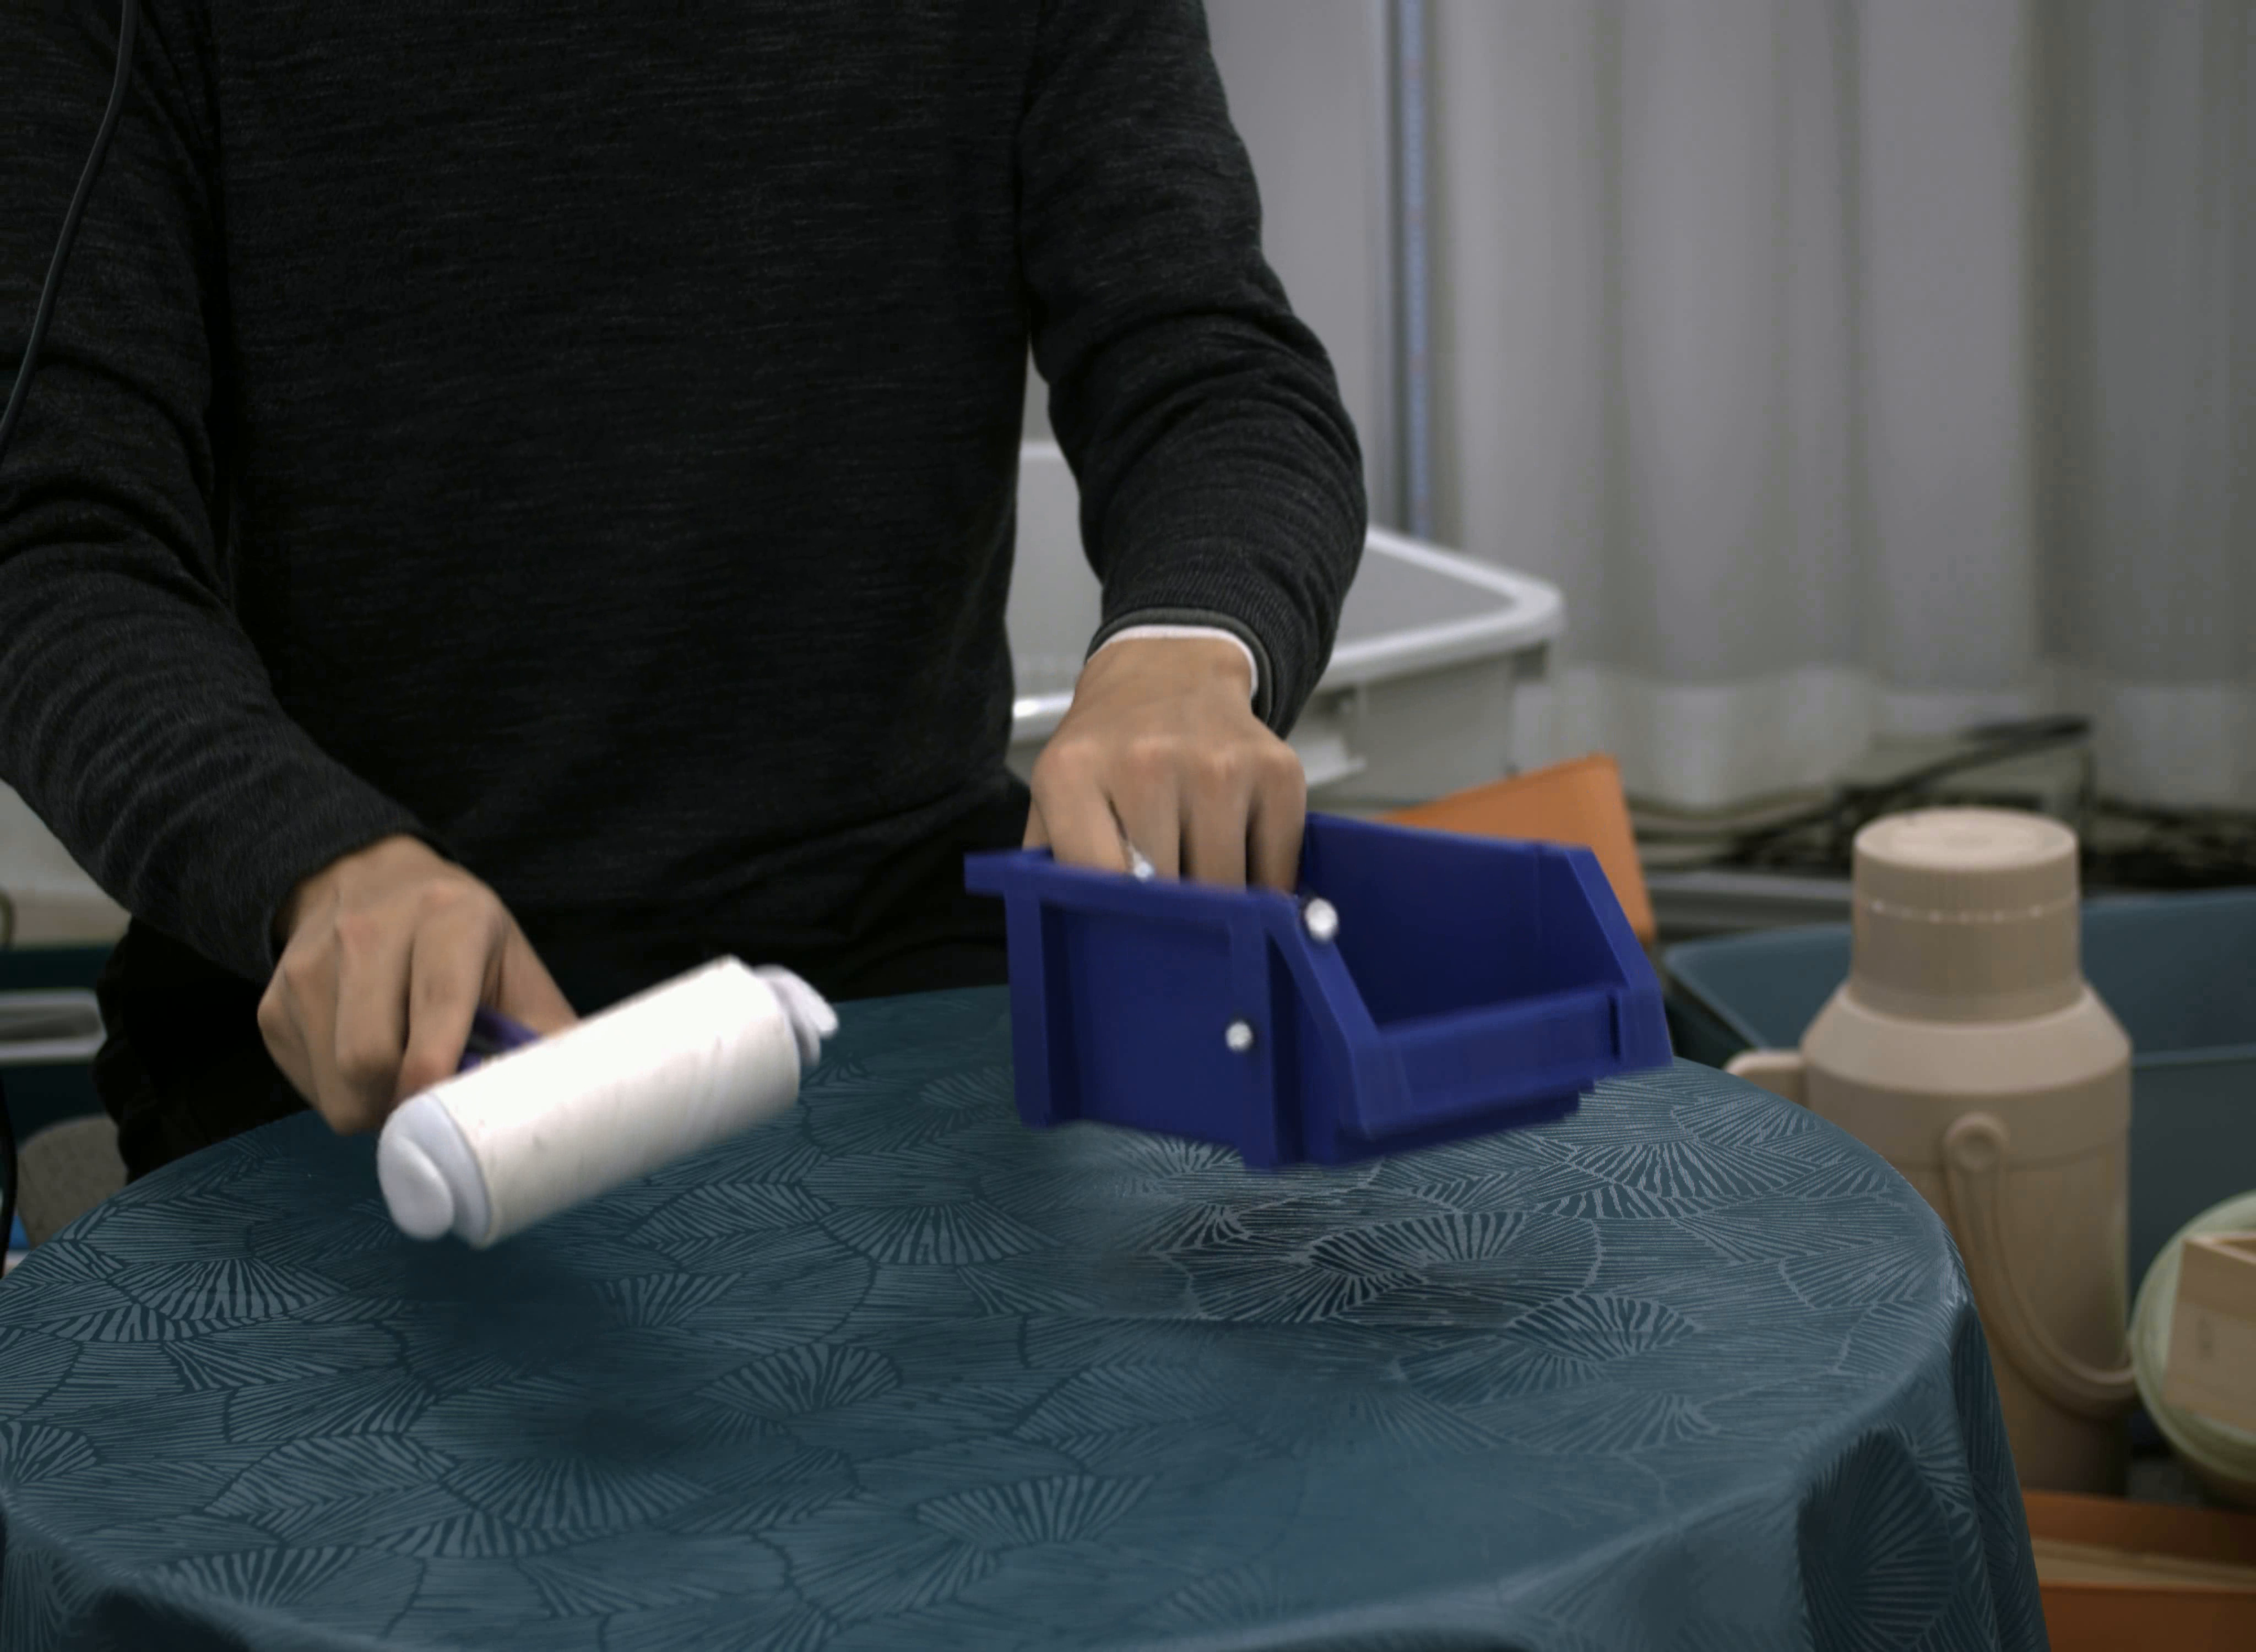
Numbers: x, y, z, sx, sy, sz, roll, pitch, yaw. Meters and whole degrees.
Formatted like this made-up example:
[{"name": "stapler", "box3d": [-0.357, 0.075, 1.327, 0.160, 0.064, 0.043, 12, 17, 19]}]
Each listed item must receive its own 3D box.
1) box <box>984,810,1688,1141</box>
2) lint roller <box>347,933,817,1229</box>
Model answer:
[{"name": "box", "box3d": [0.061, 0.042, 1.604, 0.124, 0.082, 0.180, -6, 4, -36]}, {"name": "lint roller", "box3d": [-0.180, 0.055, 1.572, 0.133, 0.050, 0.182, -26, 27, -25]}]
